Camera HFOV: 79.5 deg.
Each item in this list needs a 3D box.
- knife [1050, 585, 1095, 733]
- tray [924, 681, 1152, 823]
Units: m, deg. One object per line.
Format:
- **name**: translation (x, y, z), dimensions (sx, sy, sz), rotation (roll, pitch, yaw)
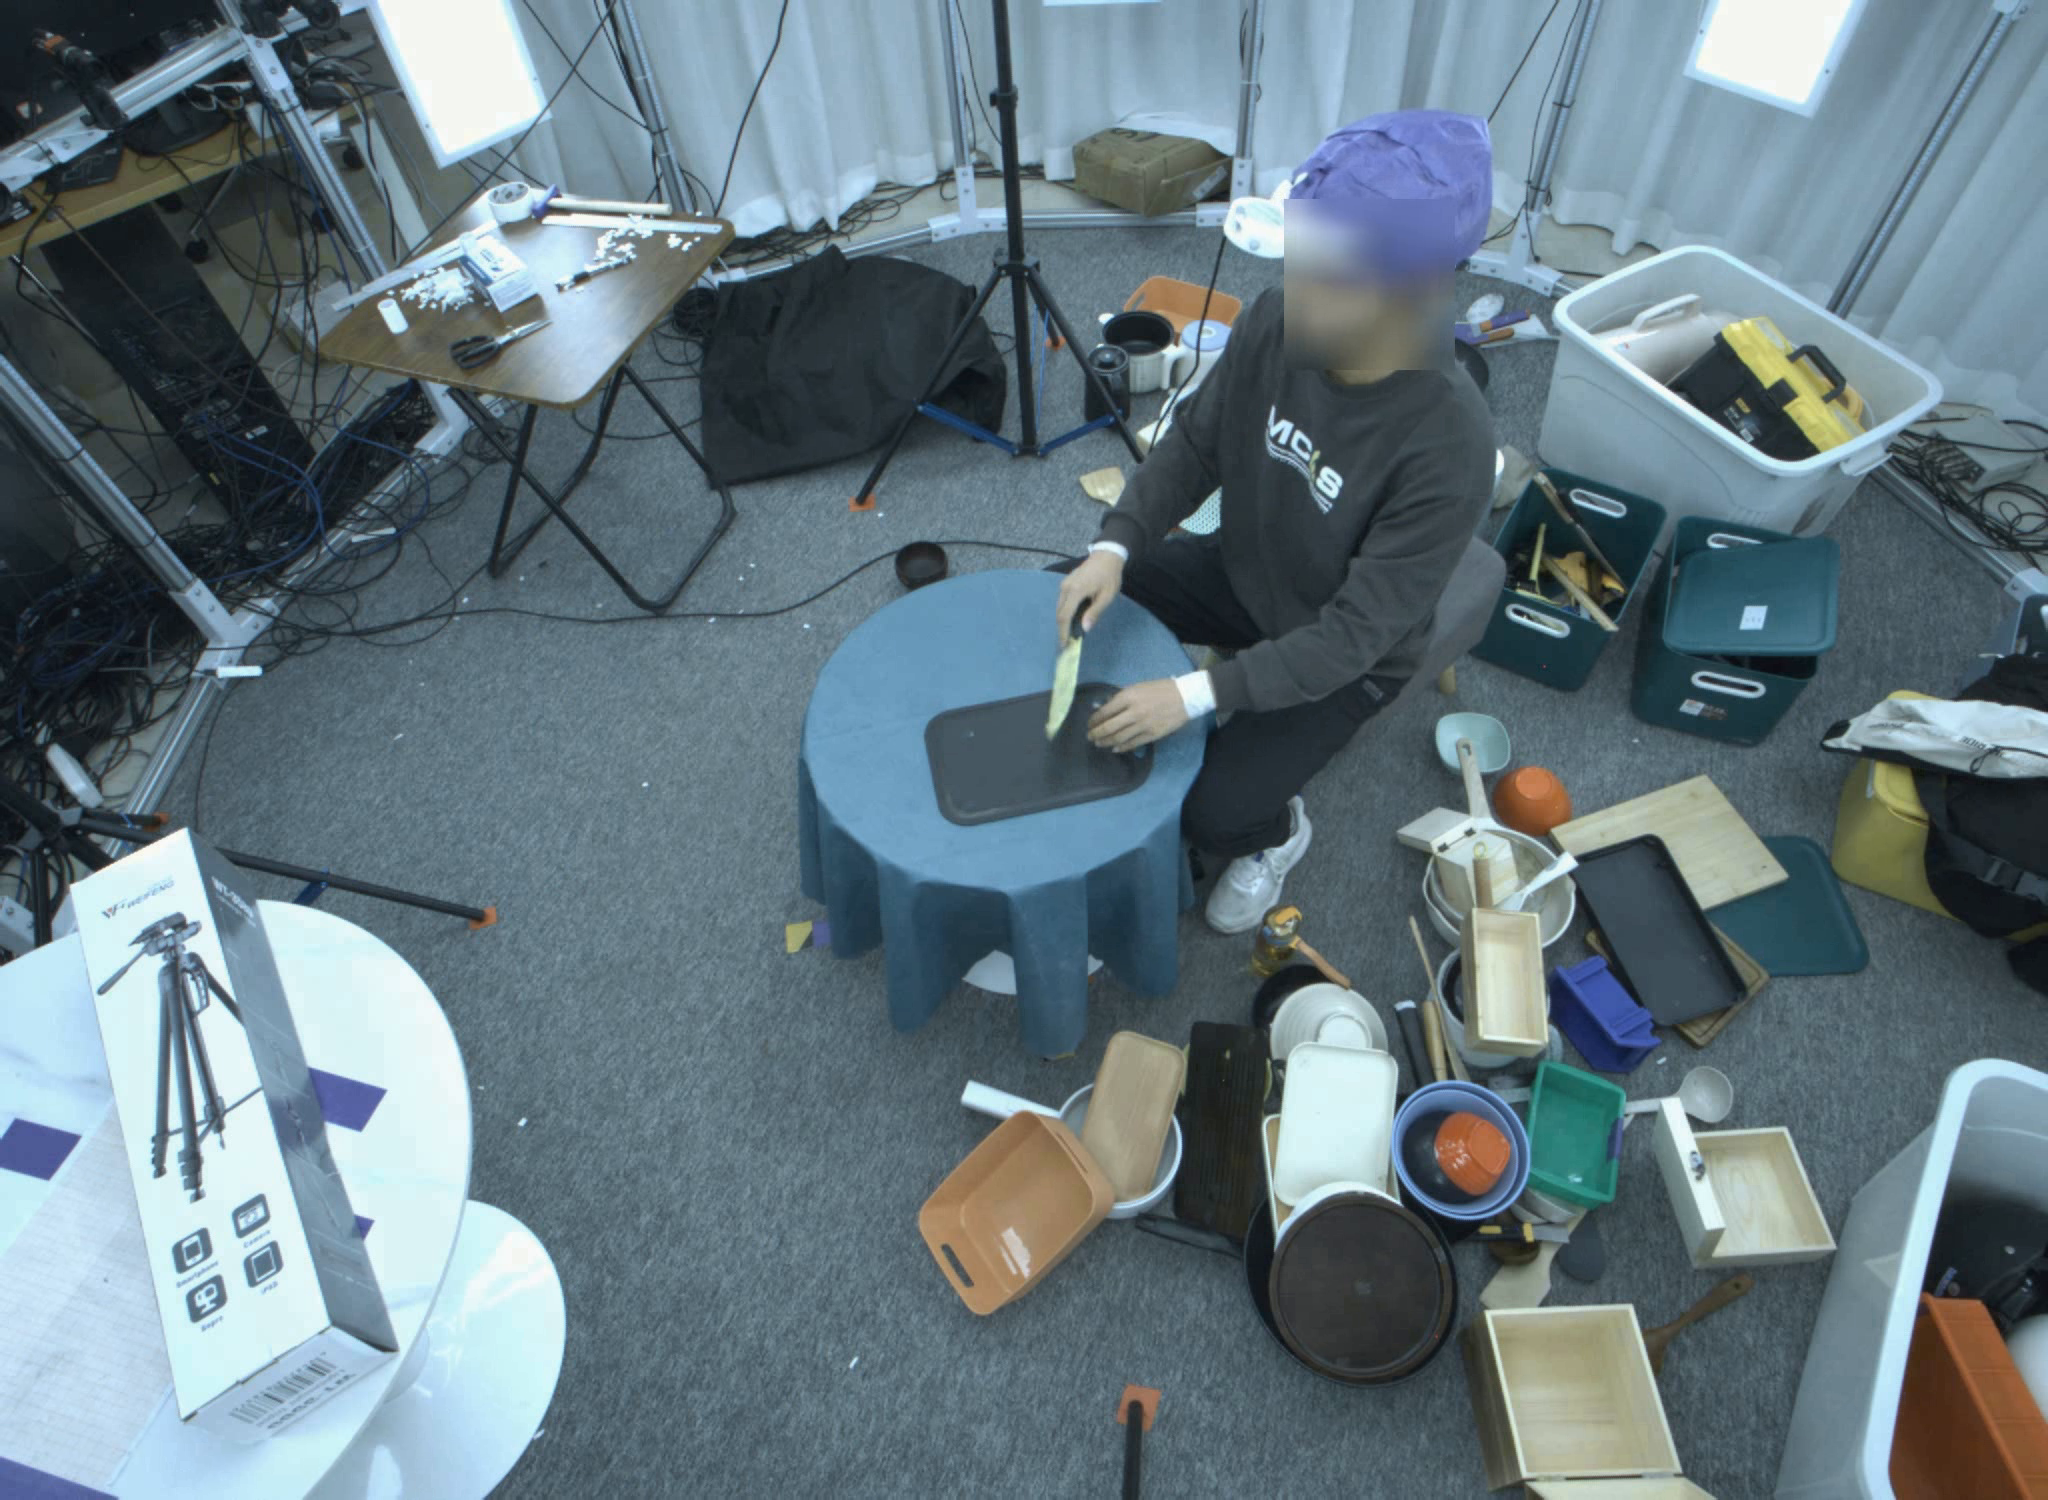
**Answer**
- **knife**: translation (0.070, -0.136, 1.810), dimensions (0.027, 0.080, 0.287), rotation (27, 49, -17)
- **tray**: translation (0.023, -0.005, 1.793), dimensions (0.327, 0.010, 0.208), rotation (-11, 55, -6)
